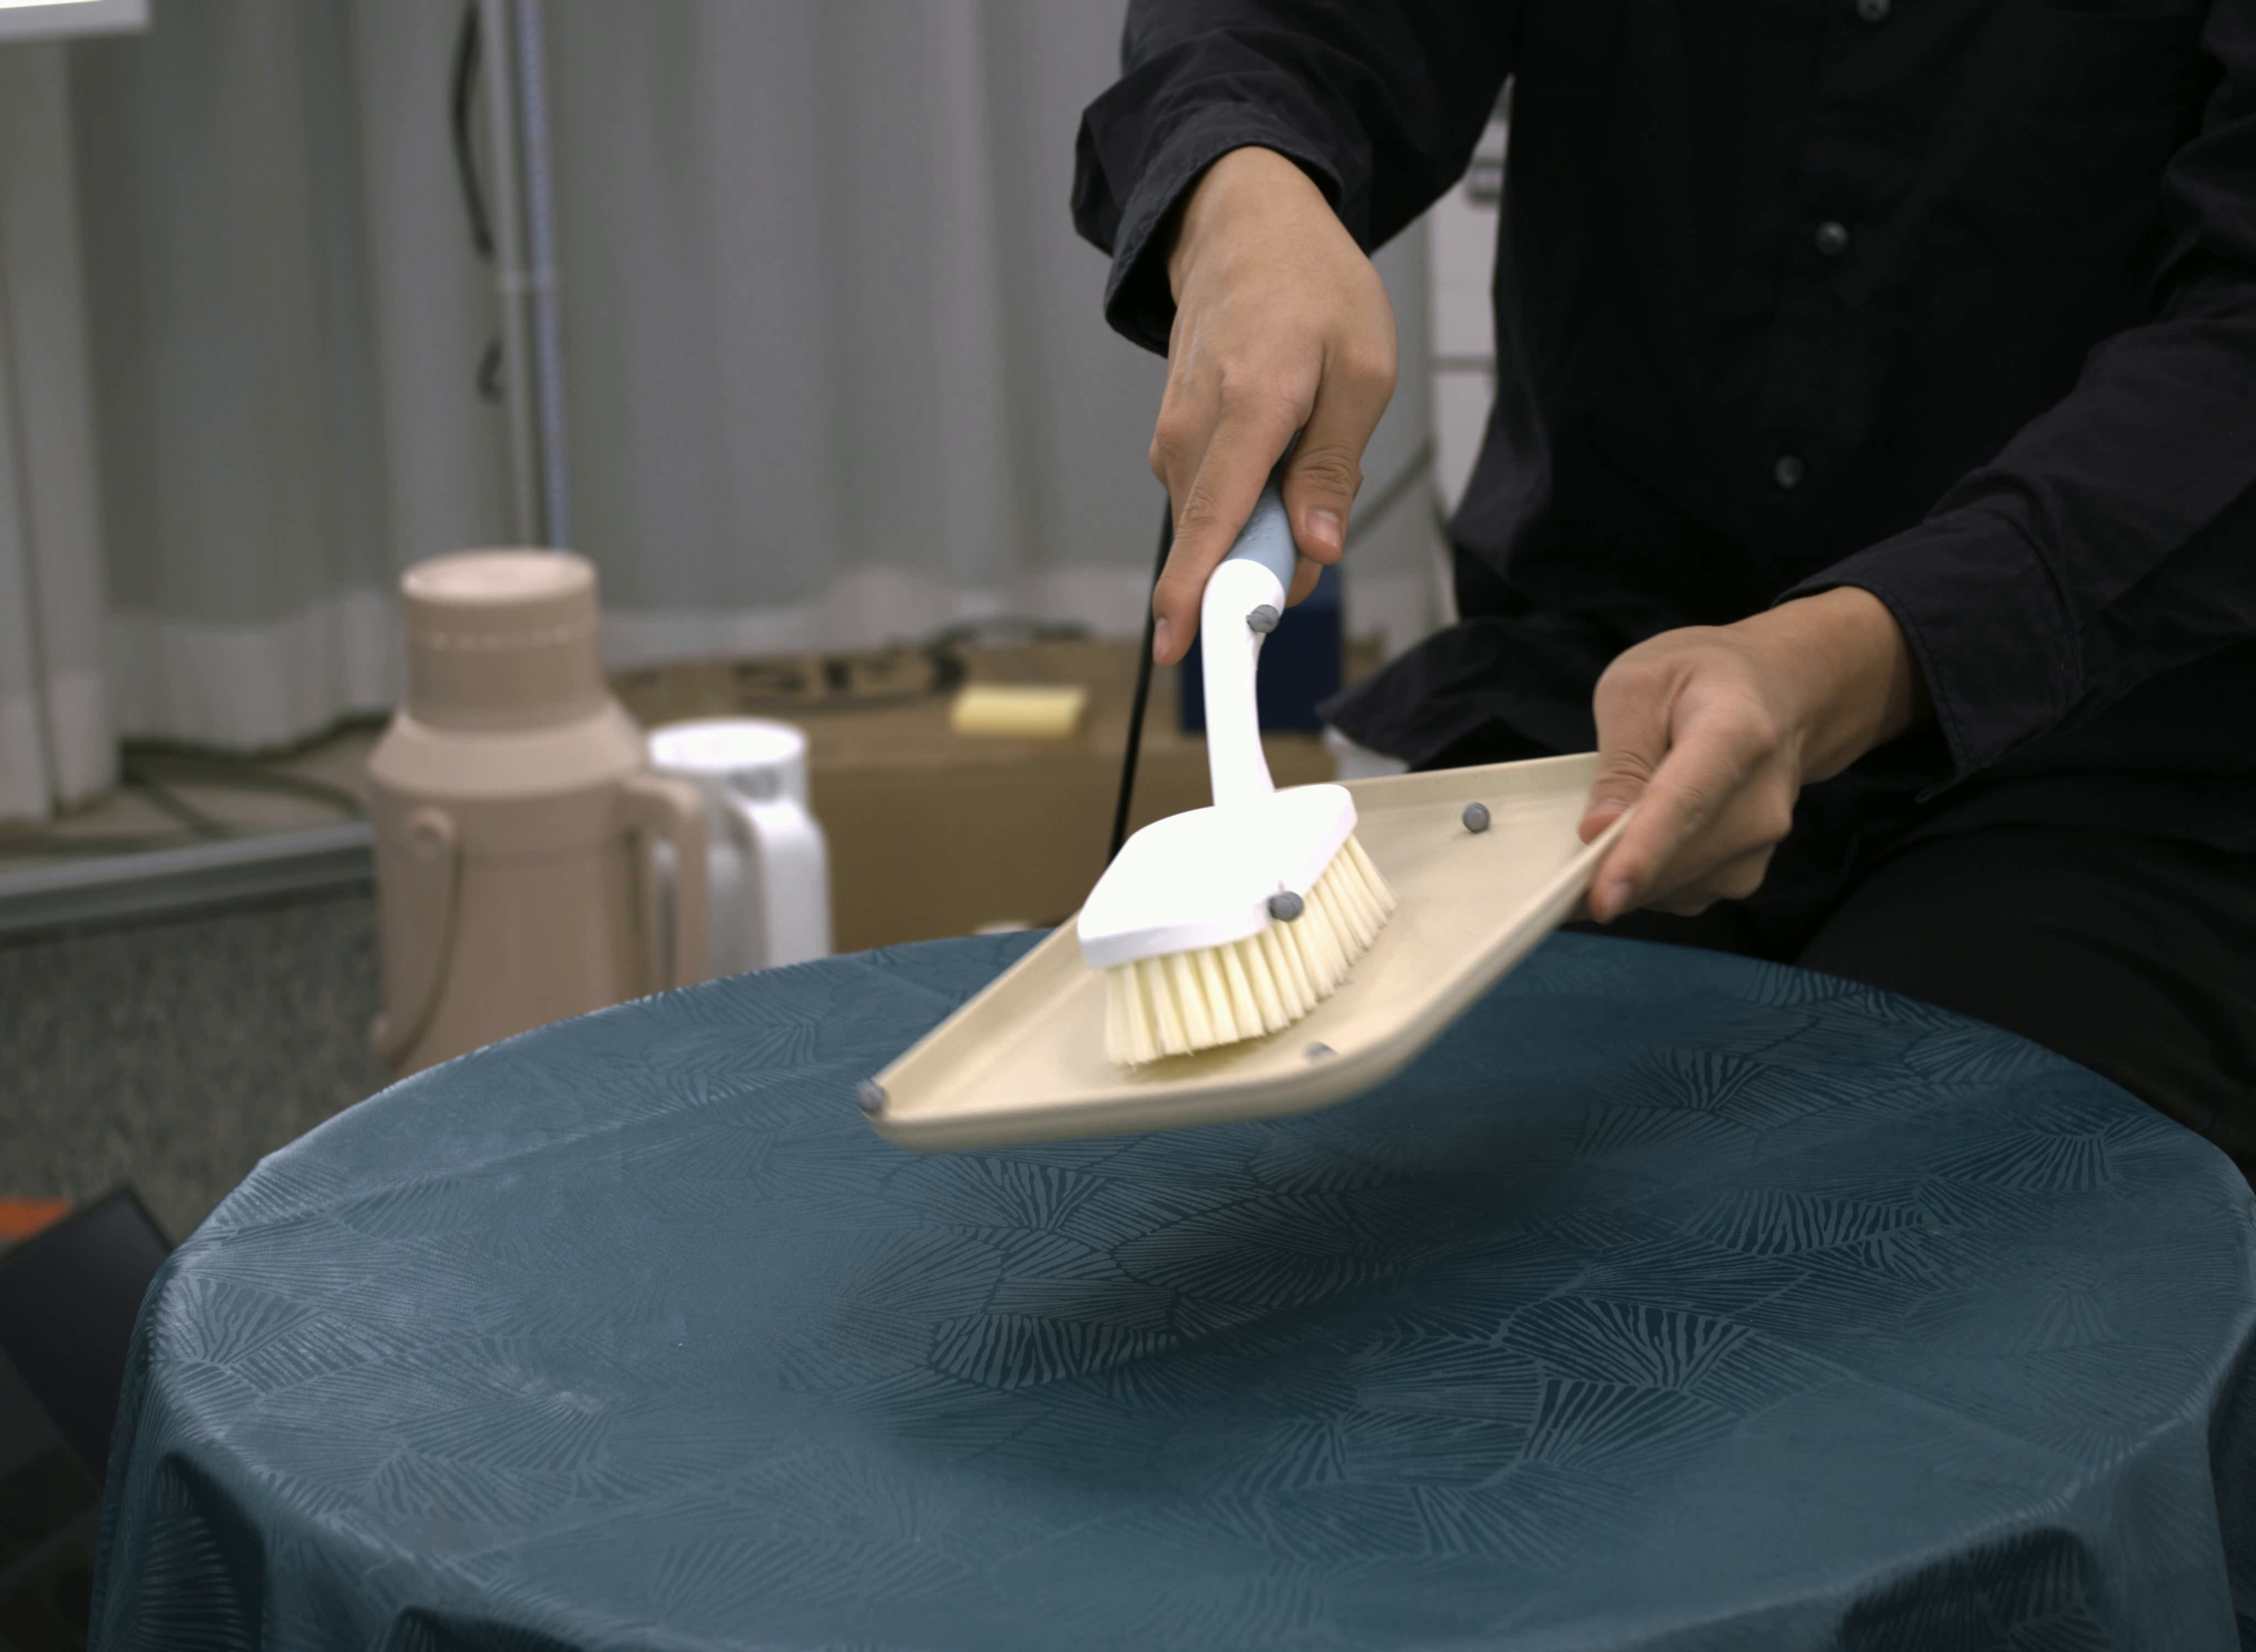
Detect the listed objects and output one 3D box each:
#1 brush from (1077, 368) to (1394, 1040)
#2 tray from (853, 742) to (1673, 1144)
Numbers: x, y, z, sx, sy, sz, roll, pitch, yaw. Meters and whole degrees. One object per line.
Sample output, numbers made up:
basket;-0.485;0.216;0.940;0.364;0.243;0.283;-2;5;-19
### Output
brush;0.047;-0.026;1.552;0.083;0.085;0.325;19;33;1
tray;0.042;0.033;1.484;0.174;0.017;0.236;-7;18;34
